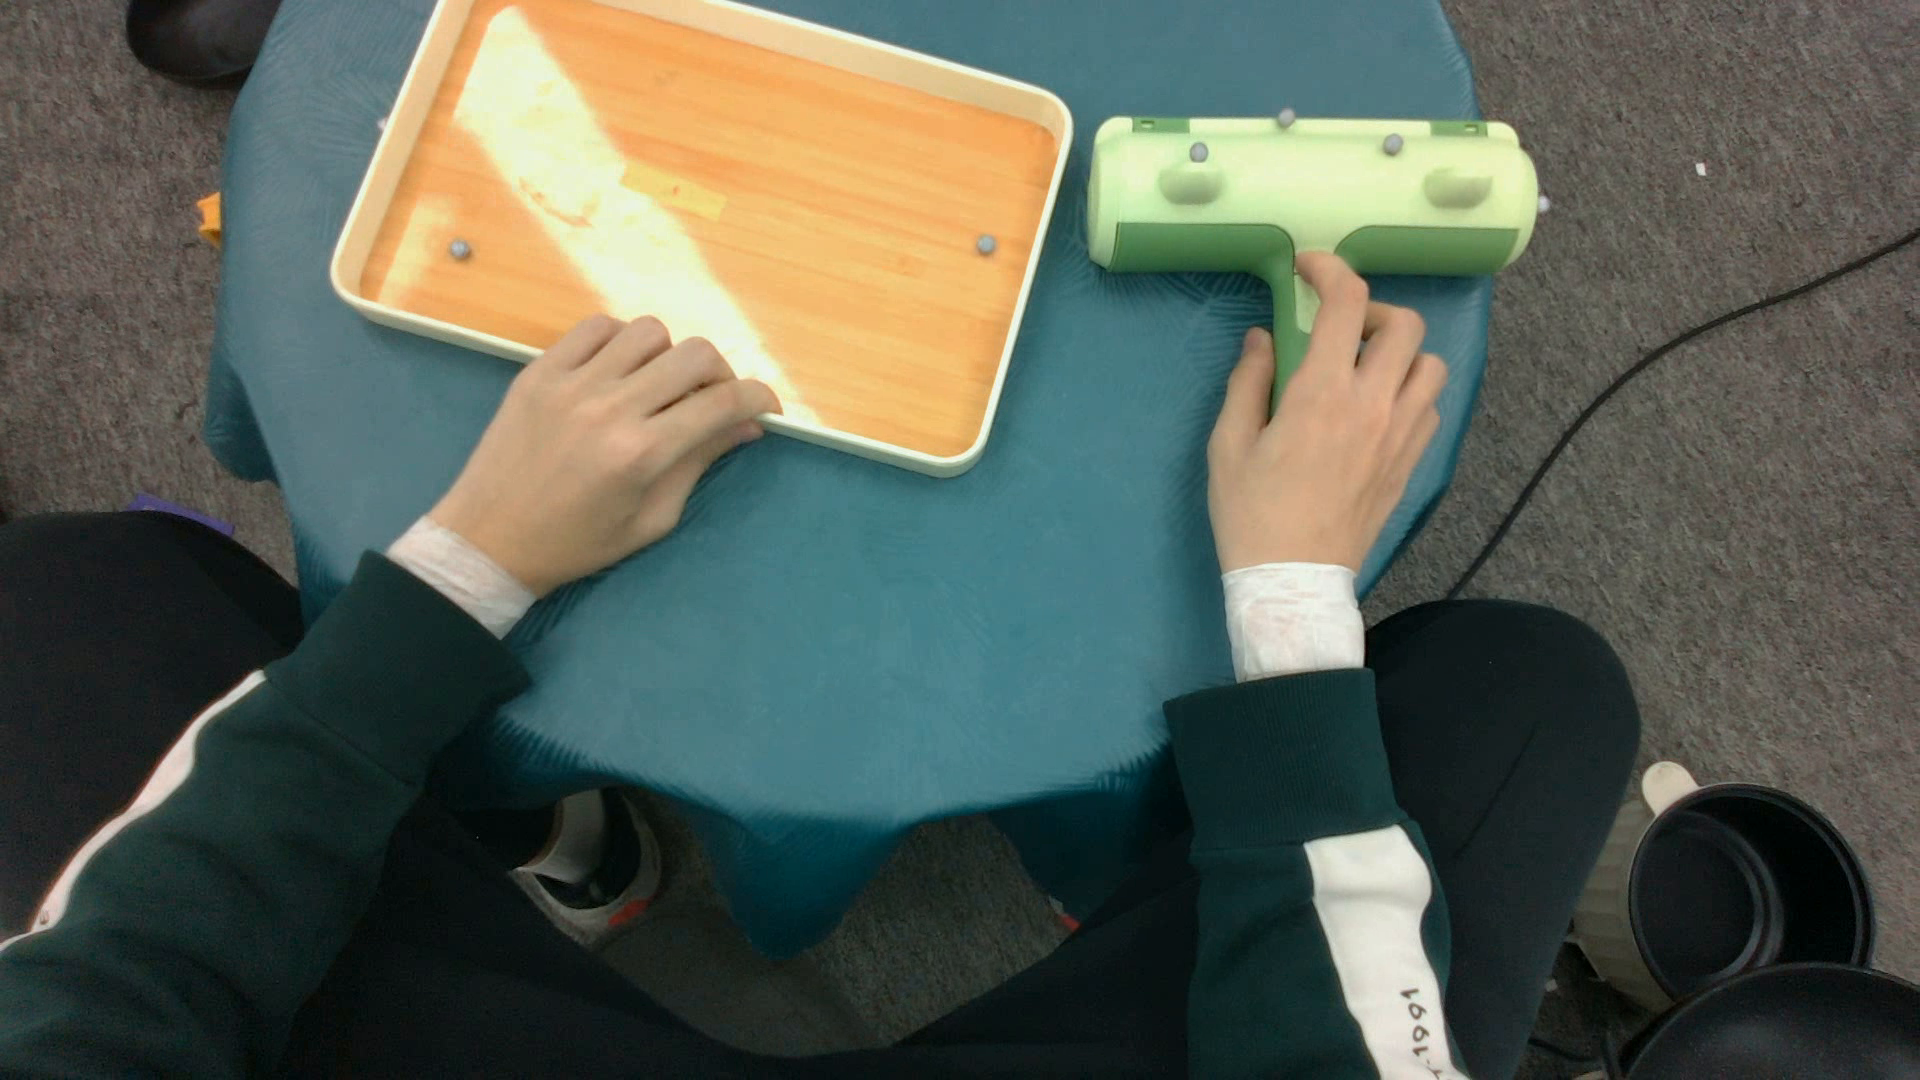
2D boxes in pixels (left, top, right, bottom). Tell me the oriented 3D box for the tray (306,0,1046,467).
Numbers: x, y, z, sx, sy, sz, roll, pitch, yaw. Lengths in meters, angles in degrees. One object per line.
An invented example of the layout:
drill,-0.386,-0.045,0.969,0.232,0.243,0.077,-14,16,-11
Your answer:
tray,-0.124,-0.156,0.632,0.300,0.027,0.192,14,78,0

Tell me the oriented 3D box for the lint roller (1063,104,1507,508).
lint roller,0.149,-0.111,0.610,0.198,0.082,0.184,0,73,-3
